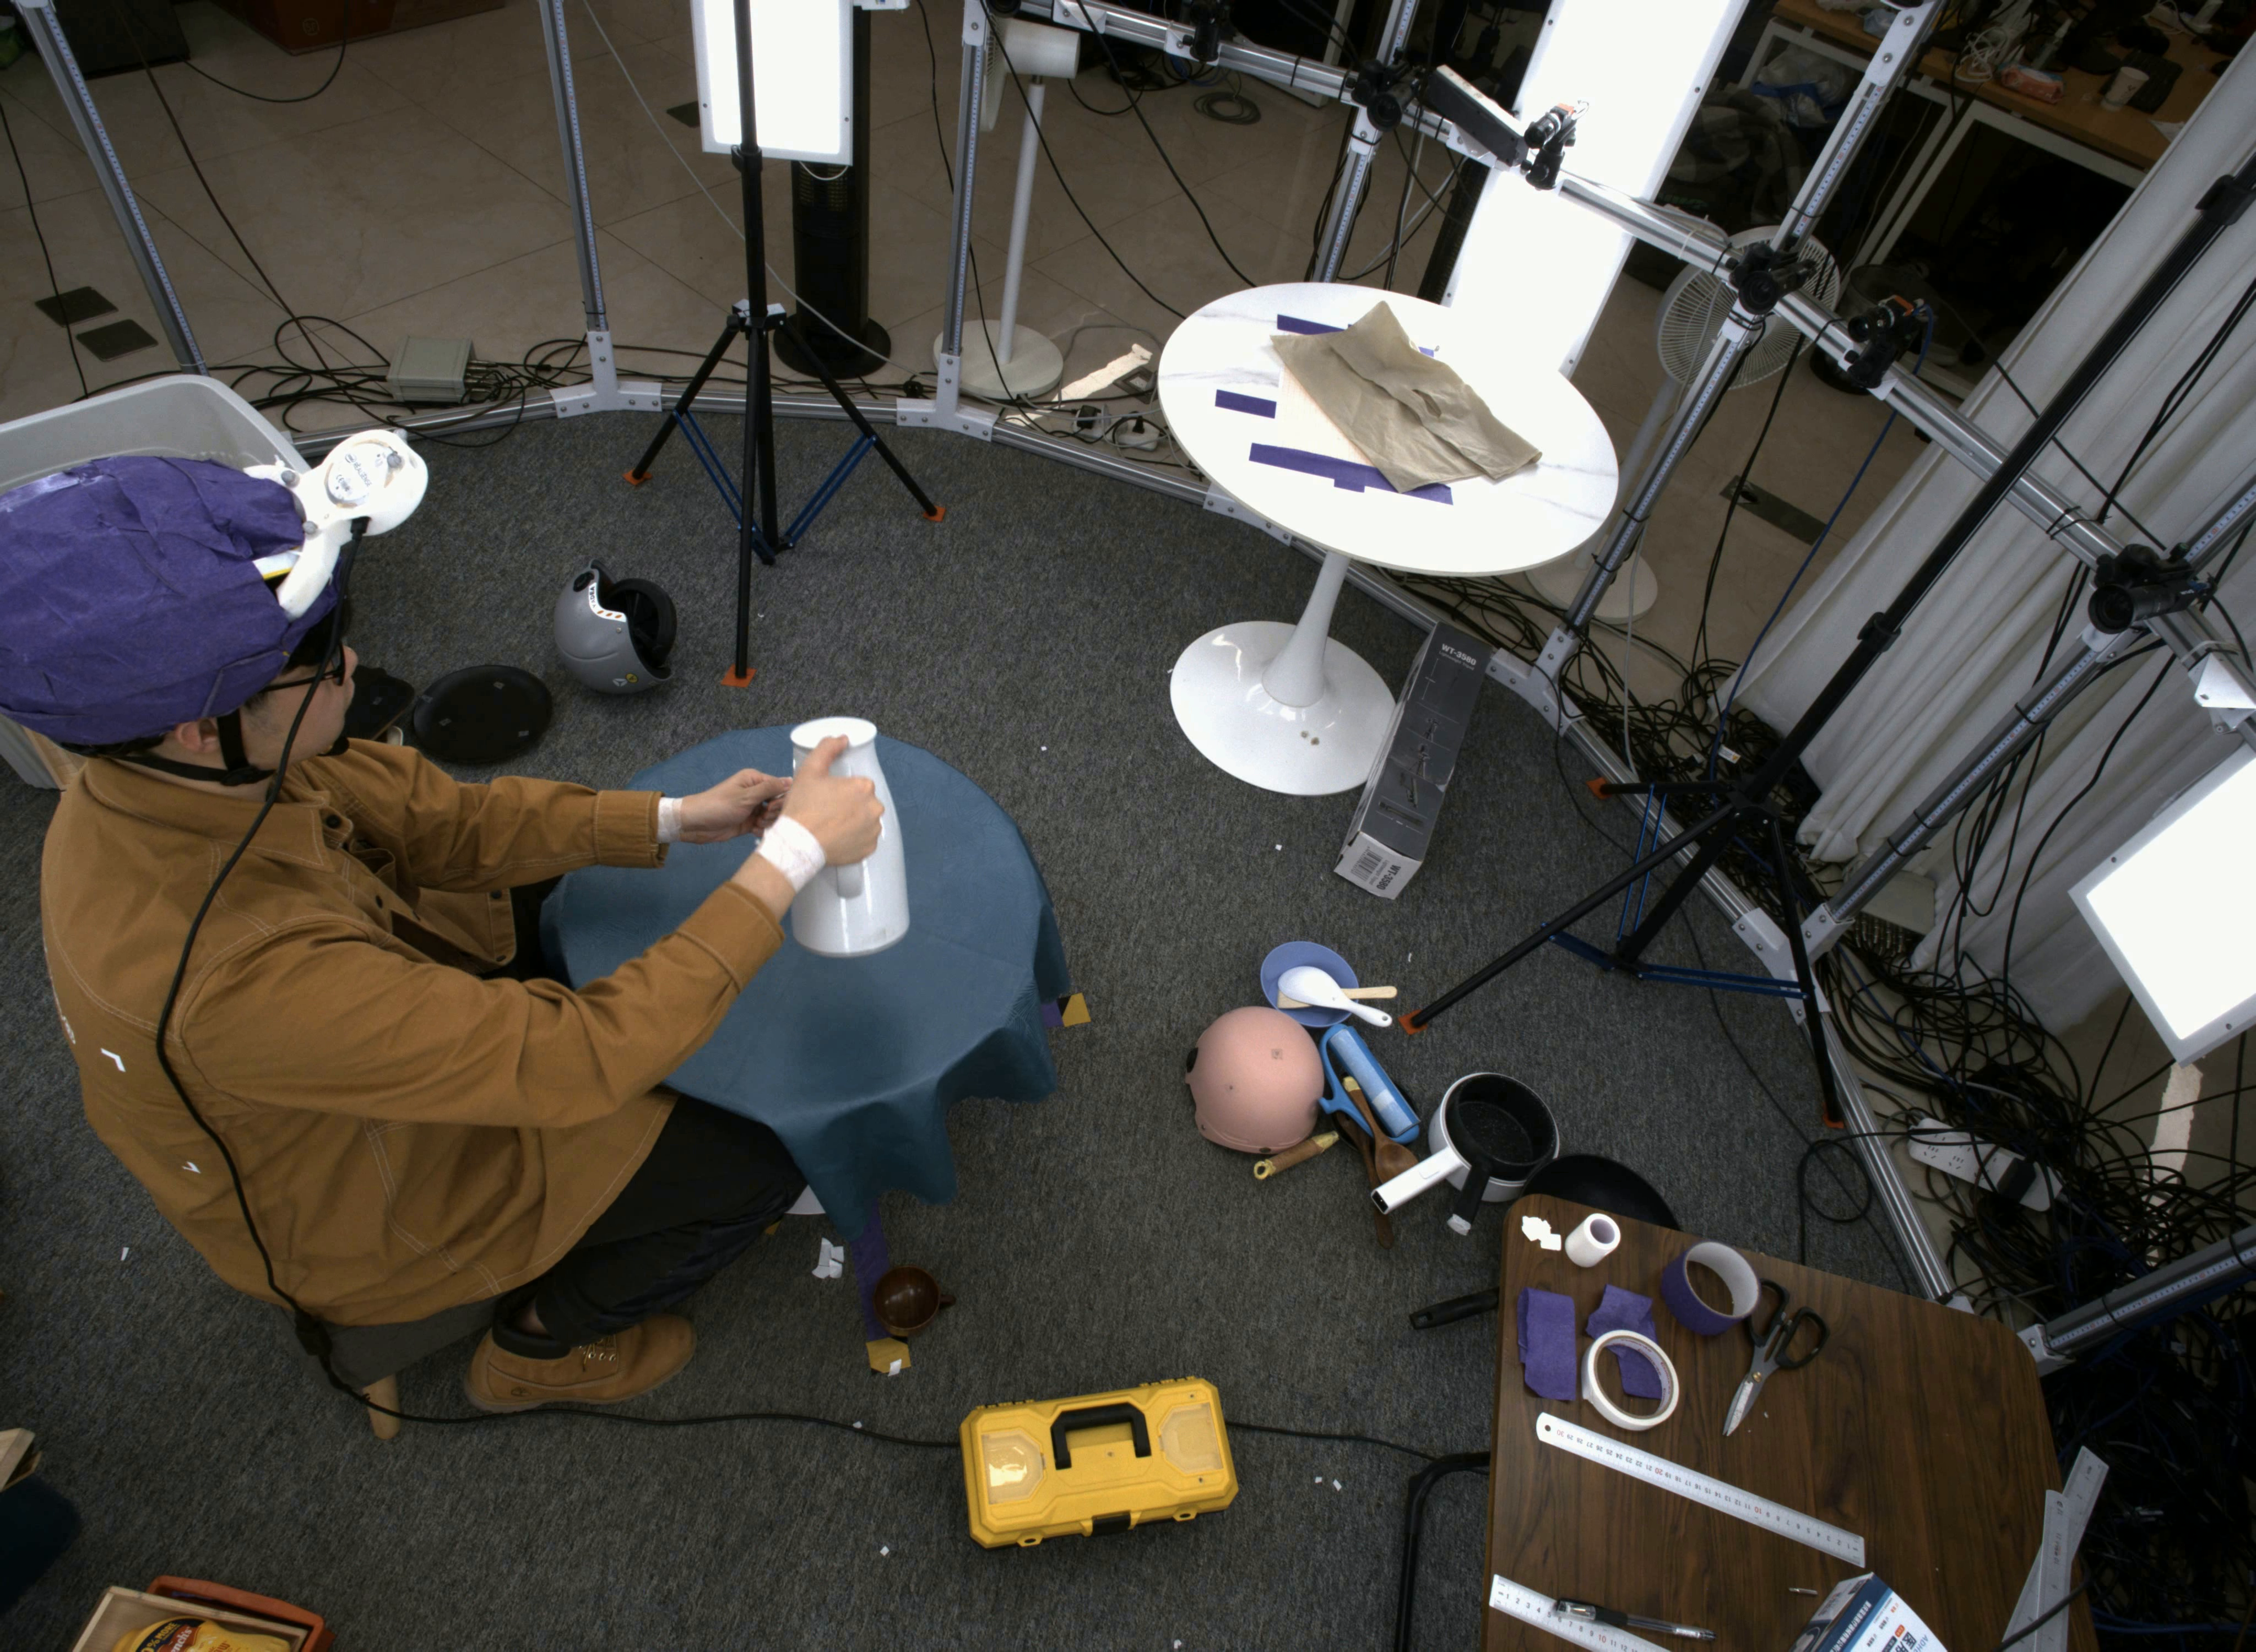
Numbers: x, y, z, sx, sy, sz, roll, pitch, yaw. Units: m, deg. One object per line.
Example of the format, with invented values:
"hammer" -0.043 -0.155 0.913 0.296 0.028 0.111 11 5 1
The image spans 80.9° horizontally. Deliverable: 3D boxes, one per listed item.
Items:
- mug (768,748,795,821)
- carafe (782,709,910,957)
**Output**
"mug" -0.387 -0.041 1.602 0.119 0.104 0.082 -24 58 -30
"carafe" -0.308 0.009 1.402 0.133 0.256 0.162 -7 27 -15
